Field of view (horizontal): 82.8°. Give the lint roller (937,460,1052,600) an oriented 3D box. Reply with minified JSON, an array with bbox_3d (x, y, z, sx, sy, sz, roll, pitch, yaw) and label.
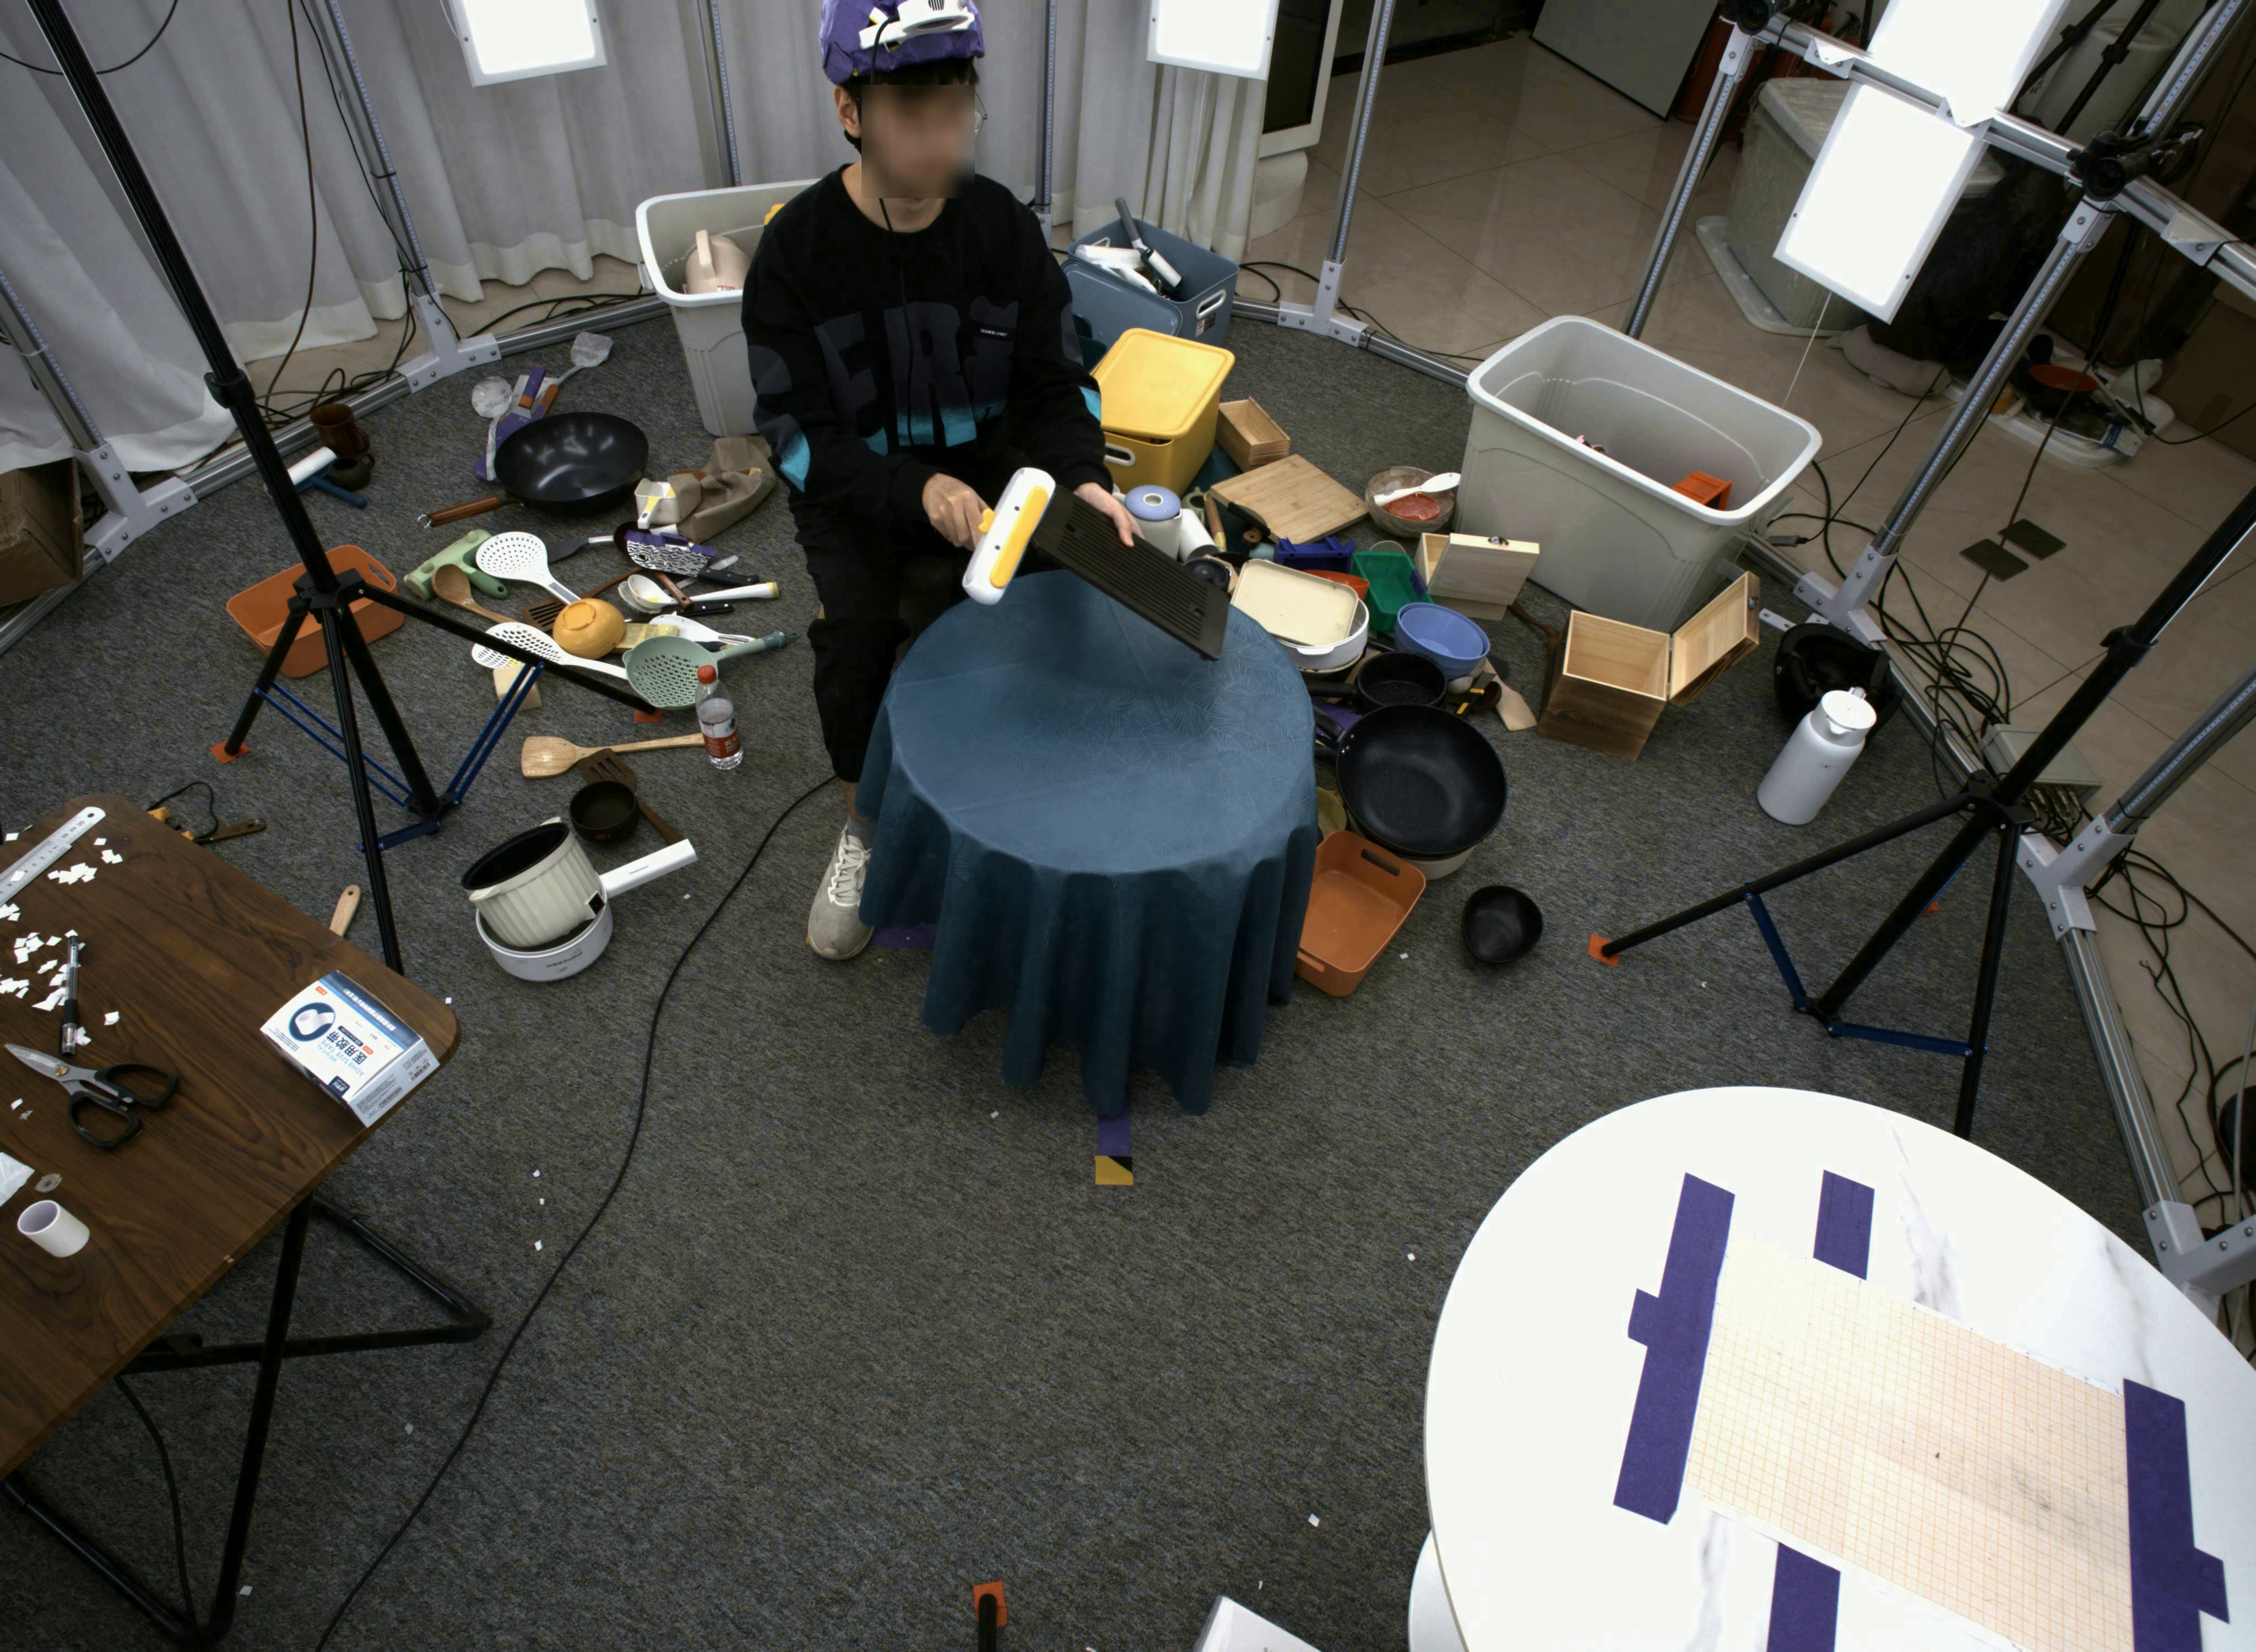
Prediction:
[{"bbox_3d":[-0.194,-0.405,1.749,0.073,0.193,0.194,21,-1,-33],"label":"lint roller"}]

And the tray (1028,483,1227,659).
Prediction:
[{"bbox_3d":[0.005,-0.351,1.781,0.303,0.018,0.174,30,39,-14],"label":"tray"}]
